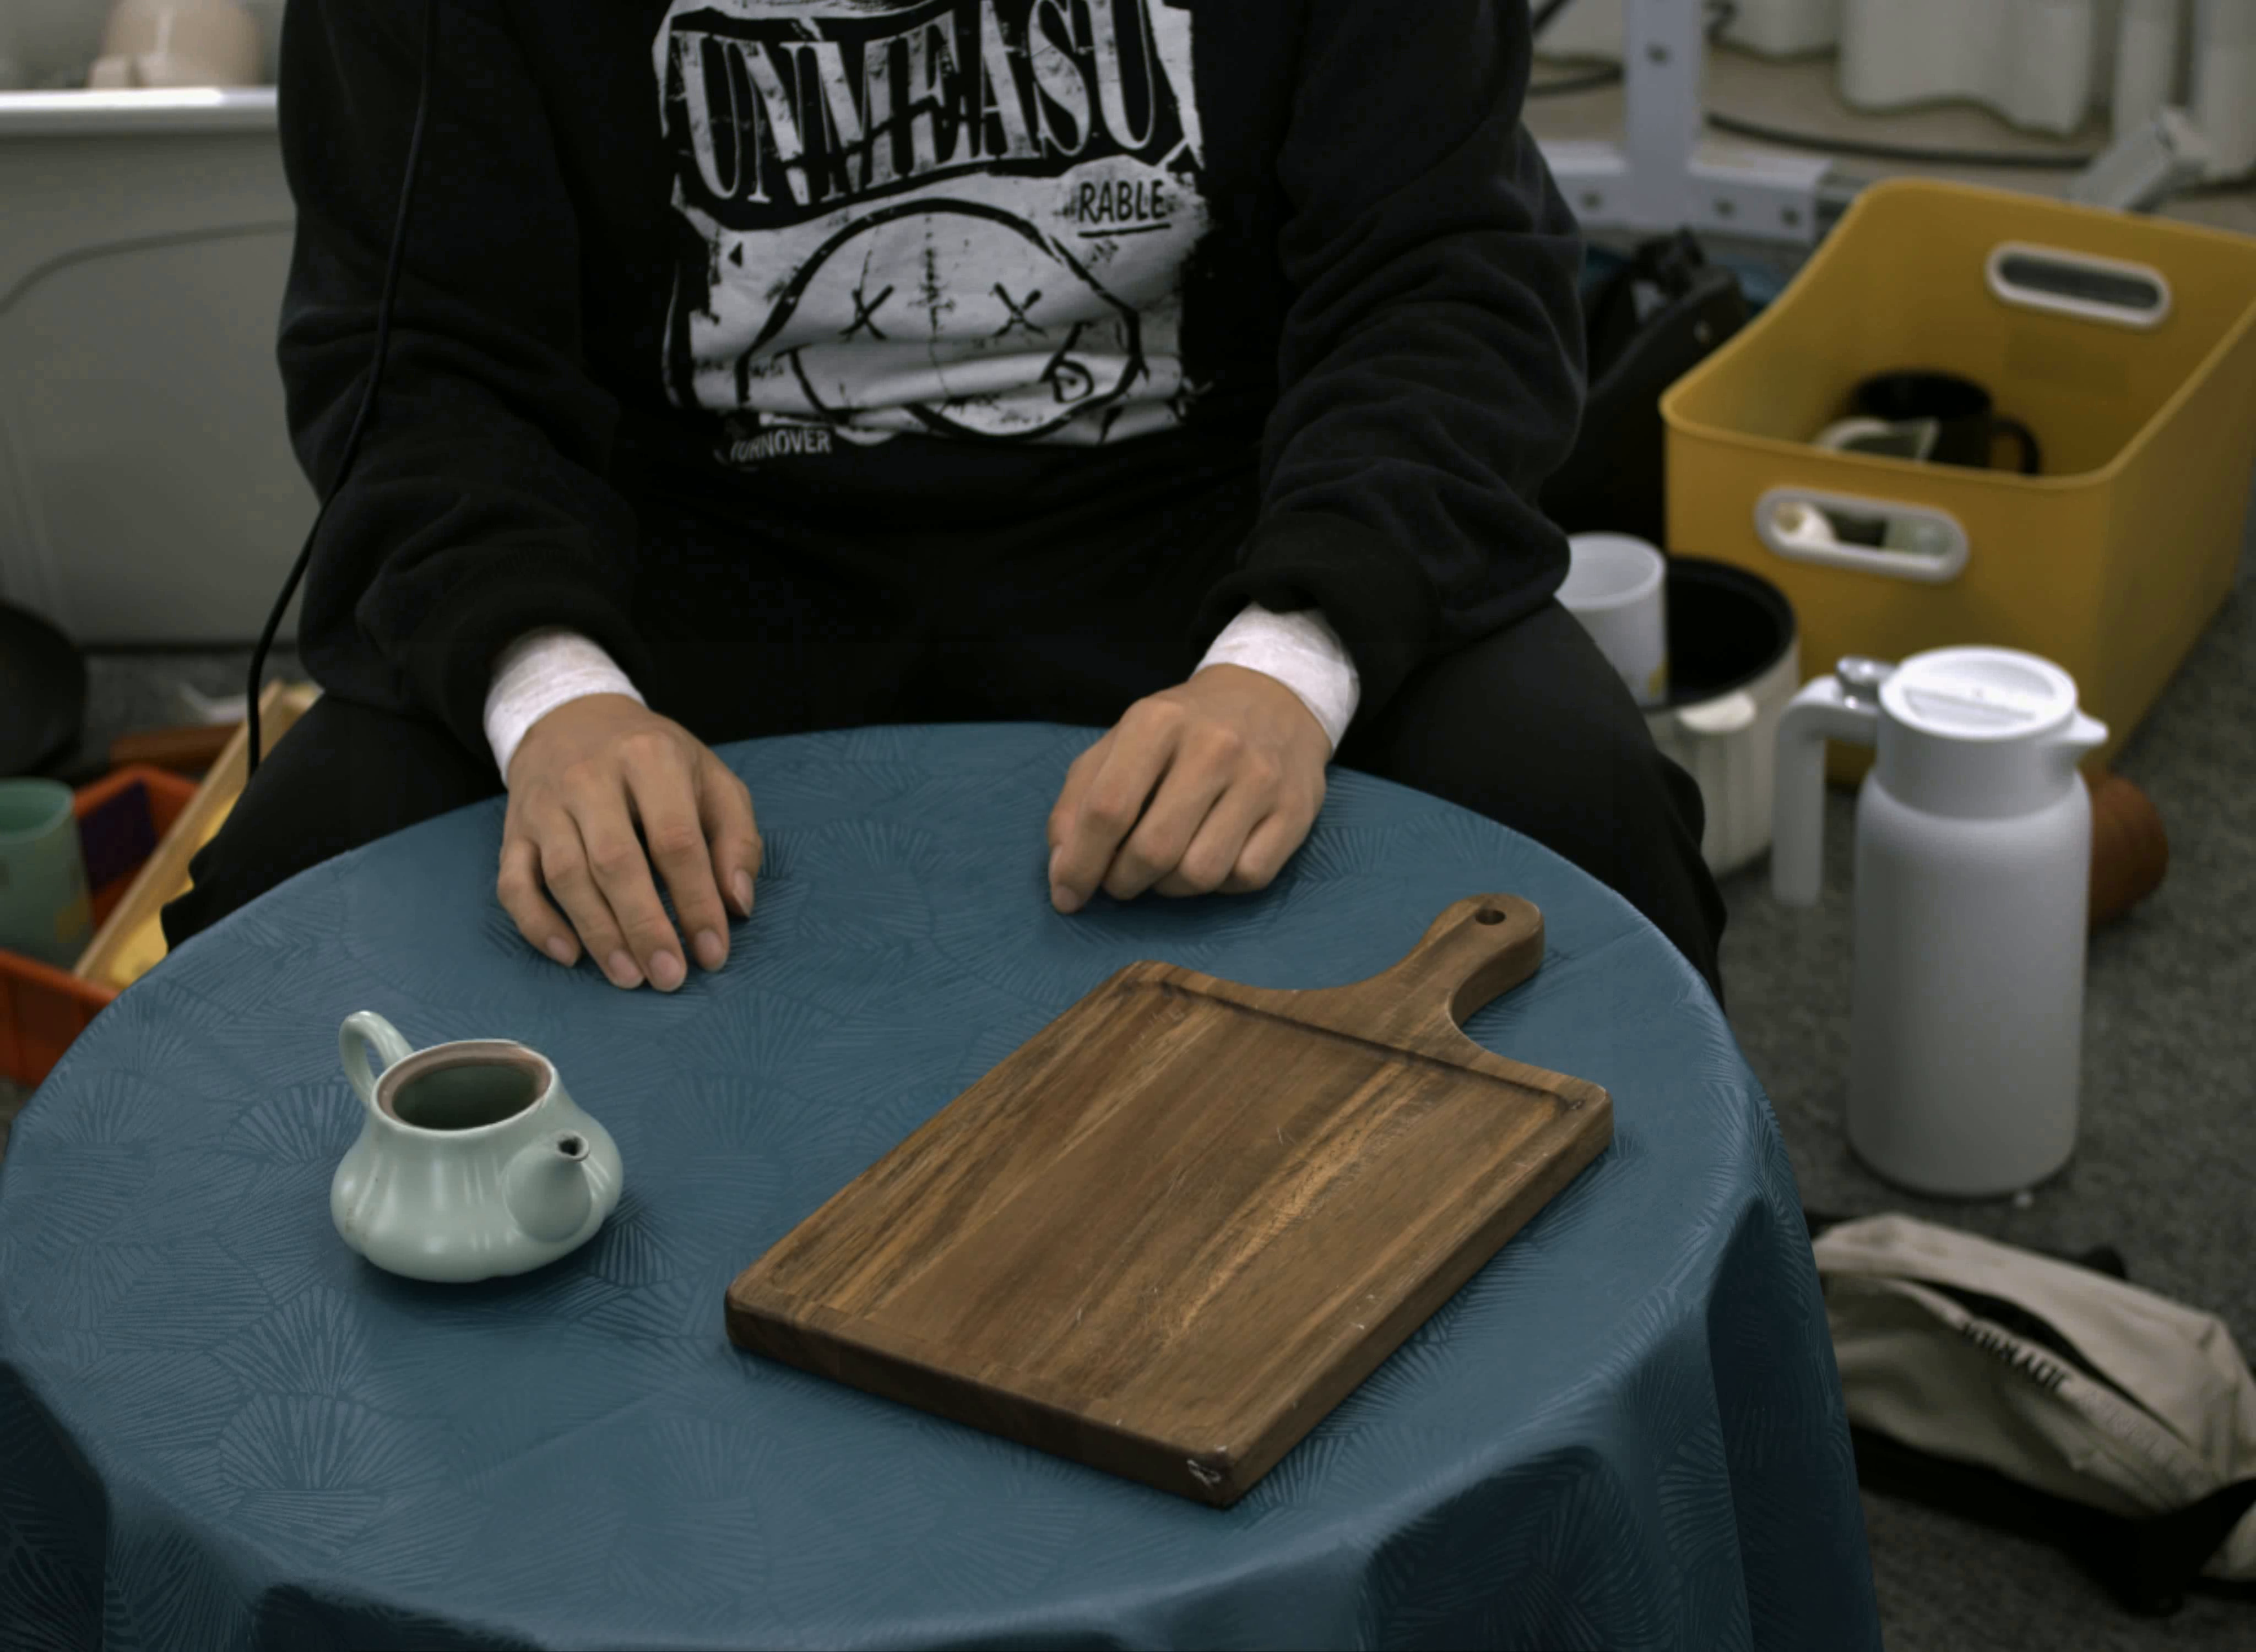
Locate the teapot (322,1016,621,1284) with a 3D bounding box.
[{"bbox_3d":[-0.218,0.107,1.844,0.097,0.061,0.137,-27,36,-37],"label":"teapot"}]

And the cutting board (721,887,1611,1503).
[{"bbox_3d":[0.042,0.105,1.863,0.200,0.023,0.358,14,32,29],"label":"cutting board"}]
